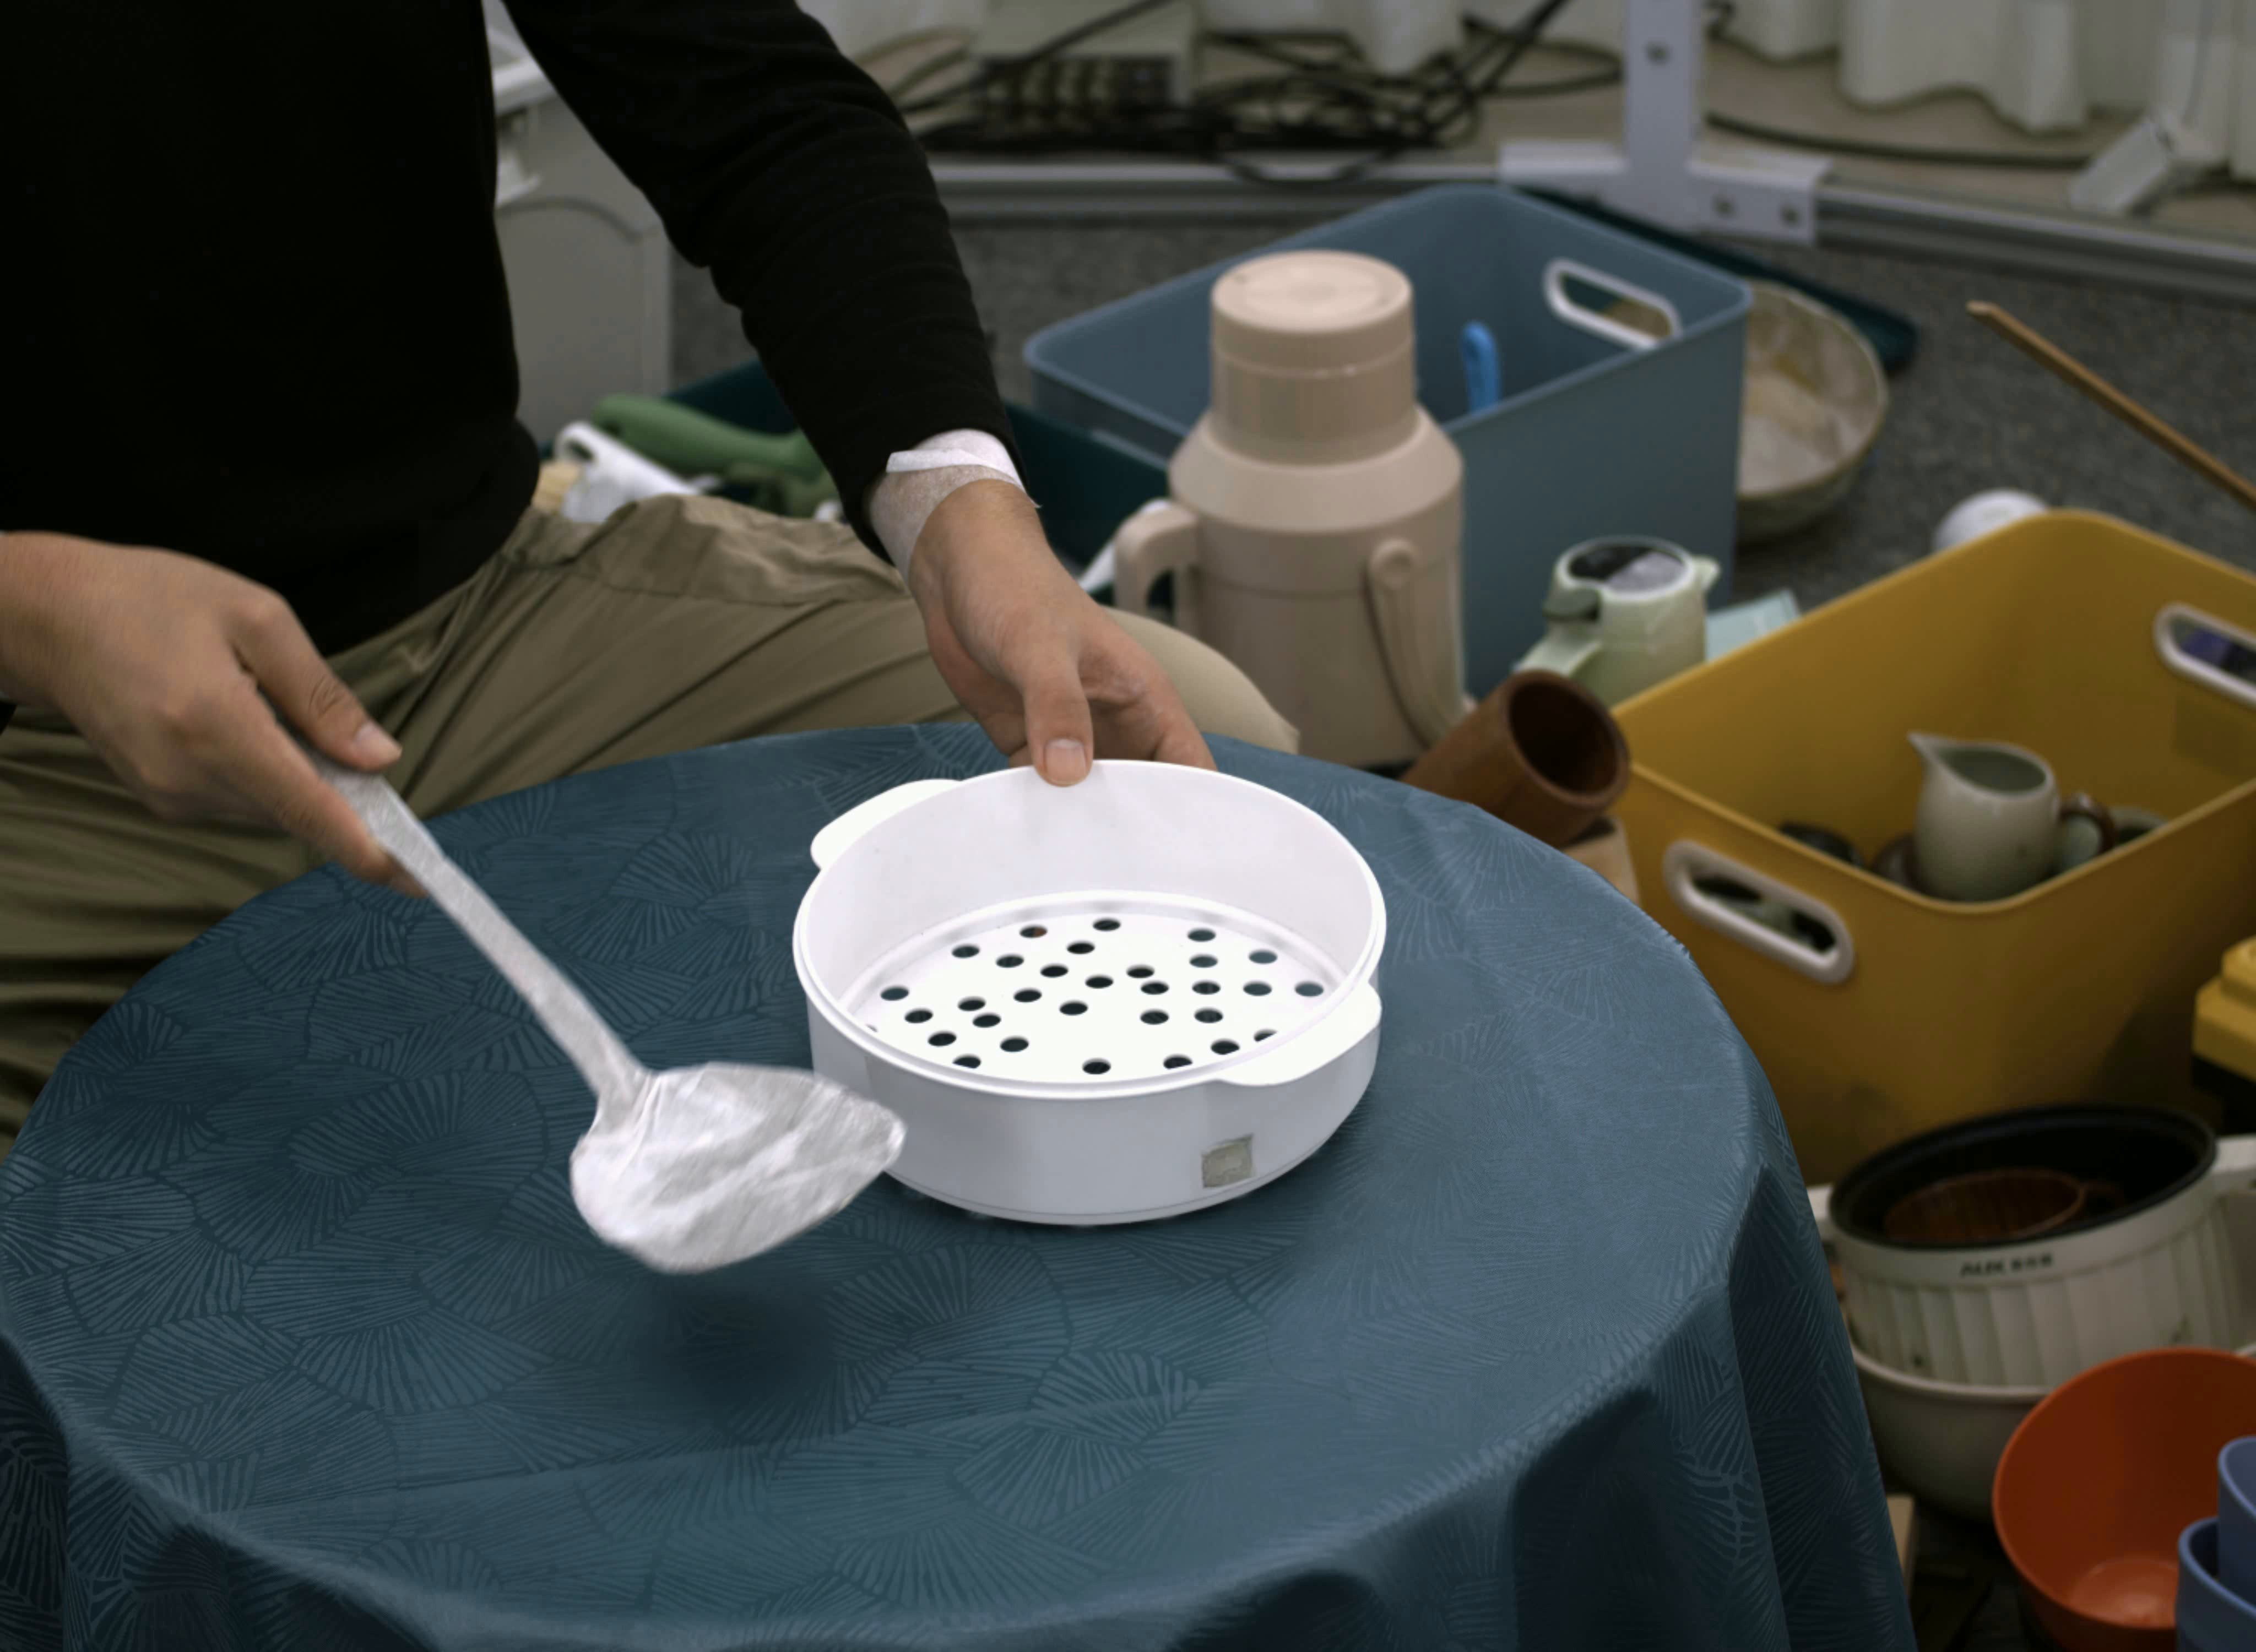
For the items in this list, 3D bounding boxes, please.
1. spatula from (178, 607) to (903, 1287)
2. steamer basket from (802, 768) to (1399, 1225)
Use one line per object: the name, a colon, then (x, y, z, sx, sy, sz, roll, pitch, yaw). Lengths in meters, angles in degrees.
spatula: (-0.213, 0.028, 1.839, 0.100, 0.044, 0.367, -31, 58, -26)
steamer basket: (-0.008, 0.058, 1.900, 0.230, 0.068, 0.204, 26, 40, 38)
